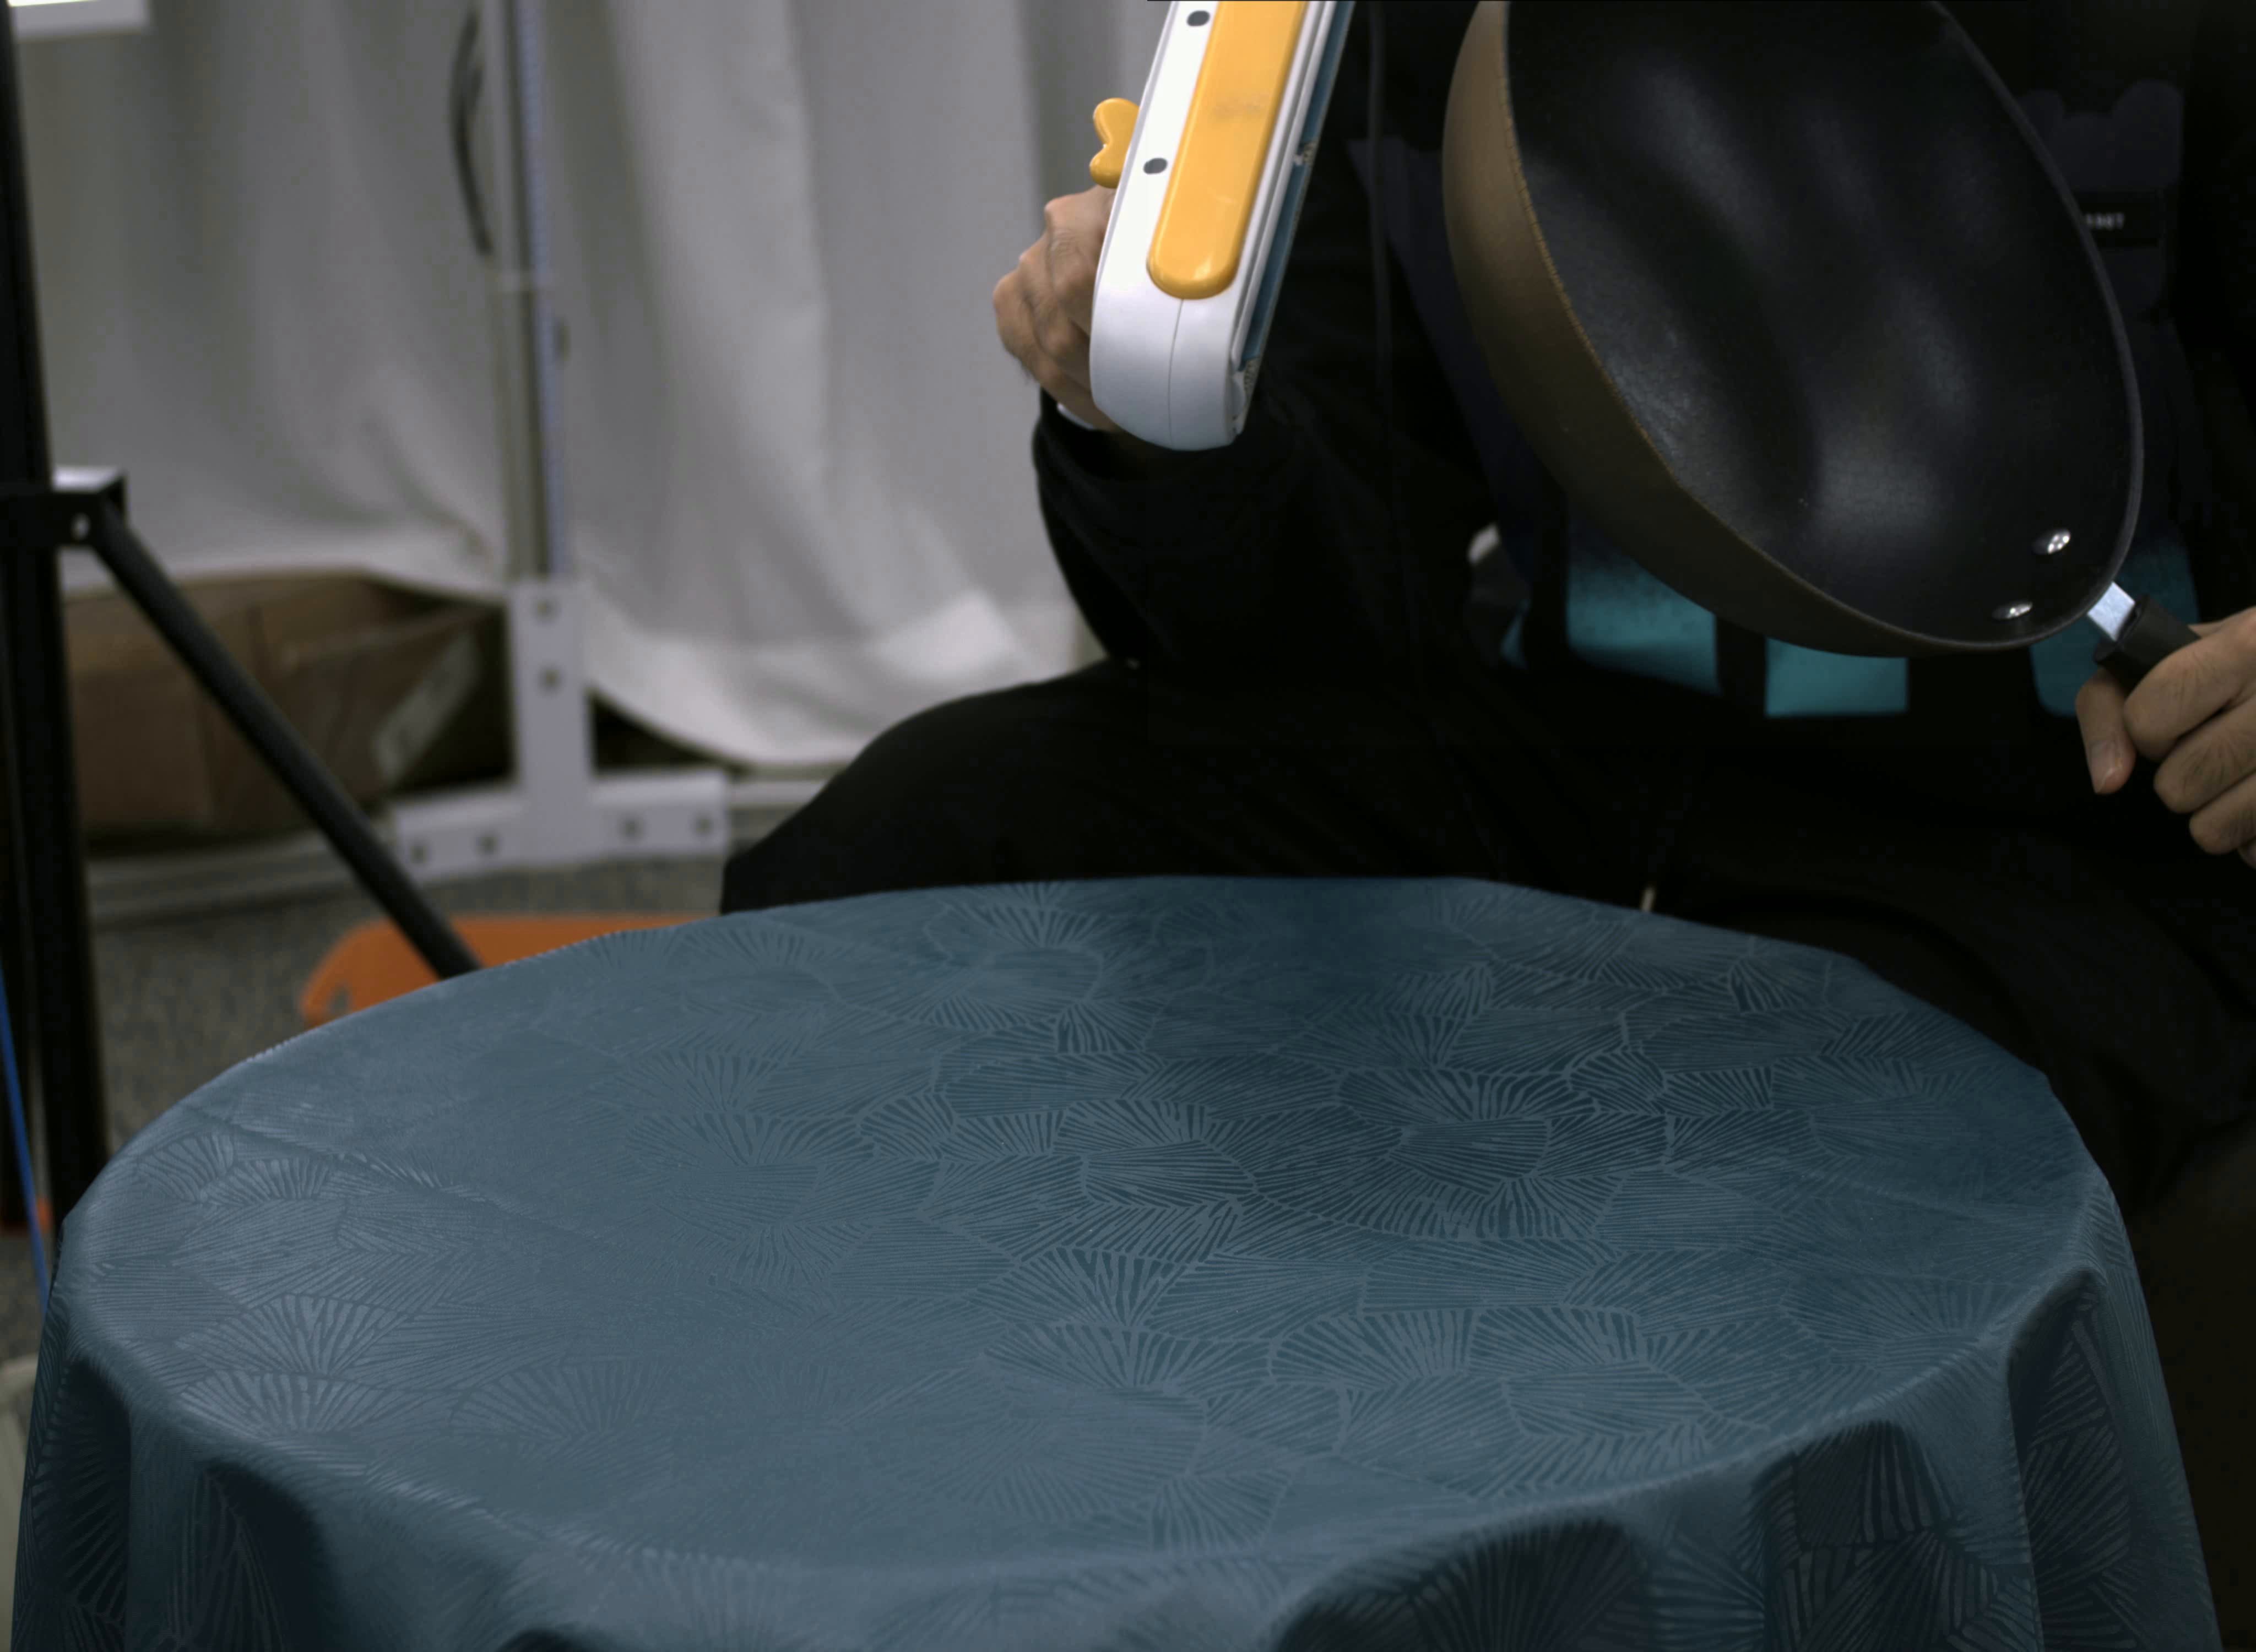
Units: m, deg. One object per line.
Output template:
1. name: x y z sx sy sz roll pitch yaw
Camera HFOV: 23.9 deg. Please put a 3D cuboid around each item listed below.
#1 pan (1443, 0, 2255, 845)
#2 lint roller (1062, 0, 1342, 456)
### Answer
1. pan: 0.251 -0.099 1.653 0.088 0.460 0.286 -34 13 41
2. lint roller: 0.018 -0.183 1.709 0.074 0.192 0.194 10 58 -1
